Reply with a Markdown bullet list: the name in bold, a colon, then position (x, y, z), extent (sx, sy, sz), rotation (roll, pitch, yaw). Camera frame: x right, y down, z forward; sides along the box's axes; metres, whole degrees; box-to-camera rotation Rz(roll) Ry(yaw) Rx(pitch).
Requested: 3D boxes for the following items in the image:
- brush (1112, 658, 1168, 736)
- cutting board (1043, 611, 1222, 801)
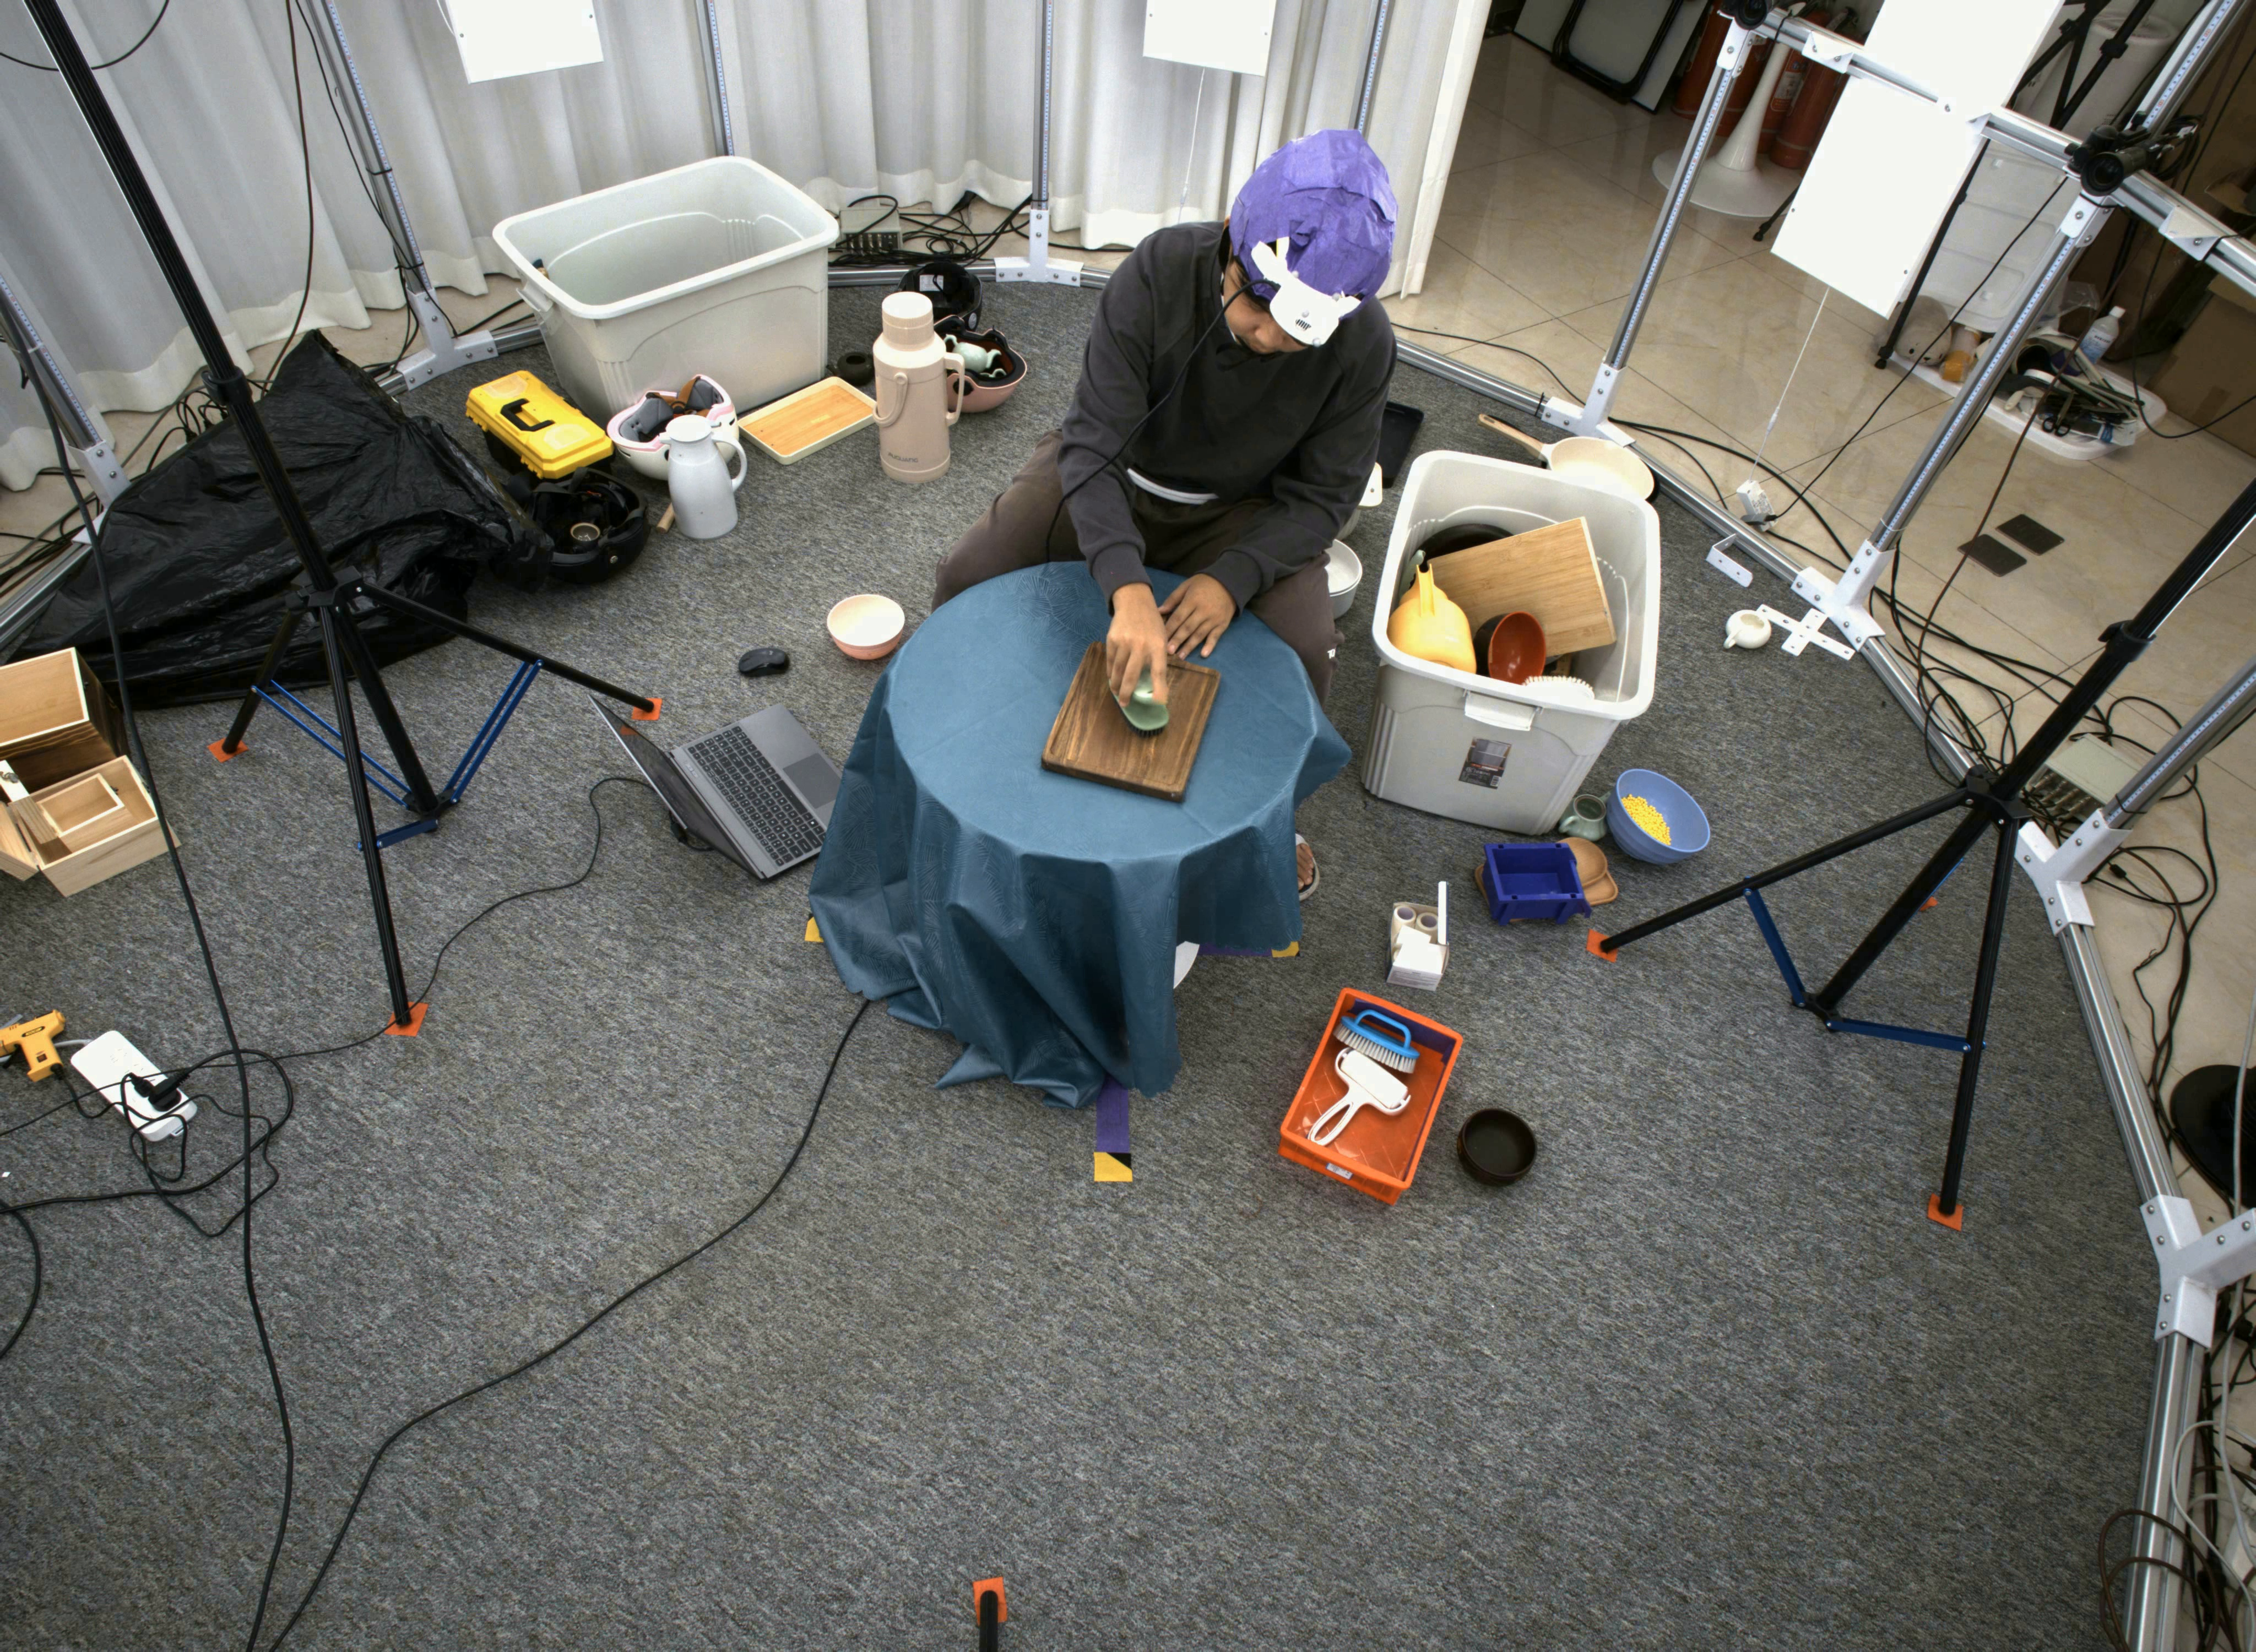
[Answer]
- **brush**: position (0.017, -0.180, 1.772), extent (0.059, 0.074, 0.126), rotation (-11, 35, -17)
- **cutting board**: position (0.023, -0.187, 1.816), extent (0.201, 0.022, 0.360), rotation (14, 49, 7)
